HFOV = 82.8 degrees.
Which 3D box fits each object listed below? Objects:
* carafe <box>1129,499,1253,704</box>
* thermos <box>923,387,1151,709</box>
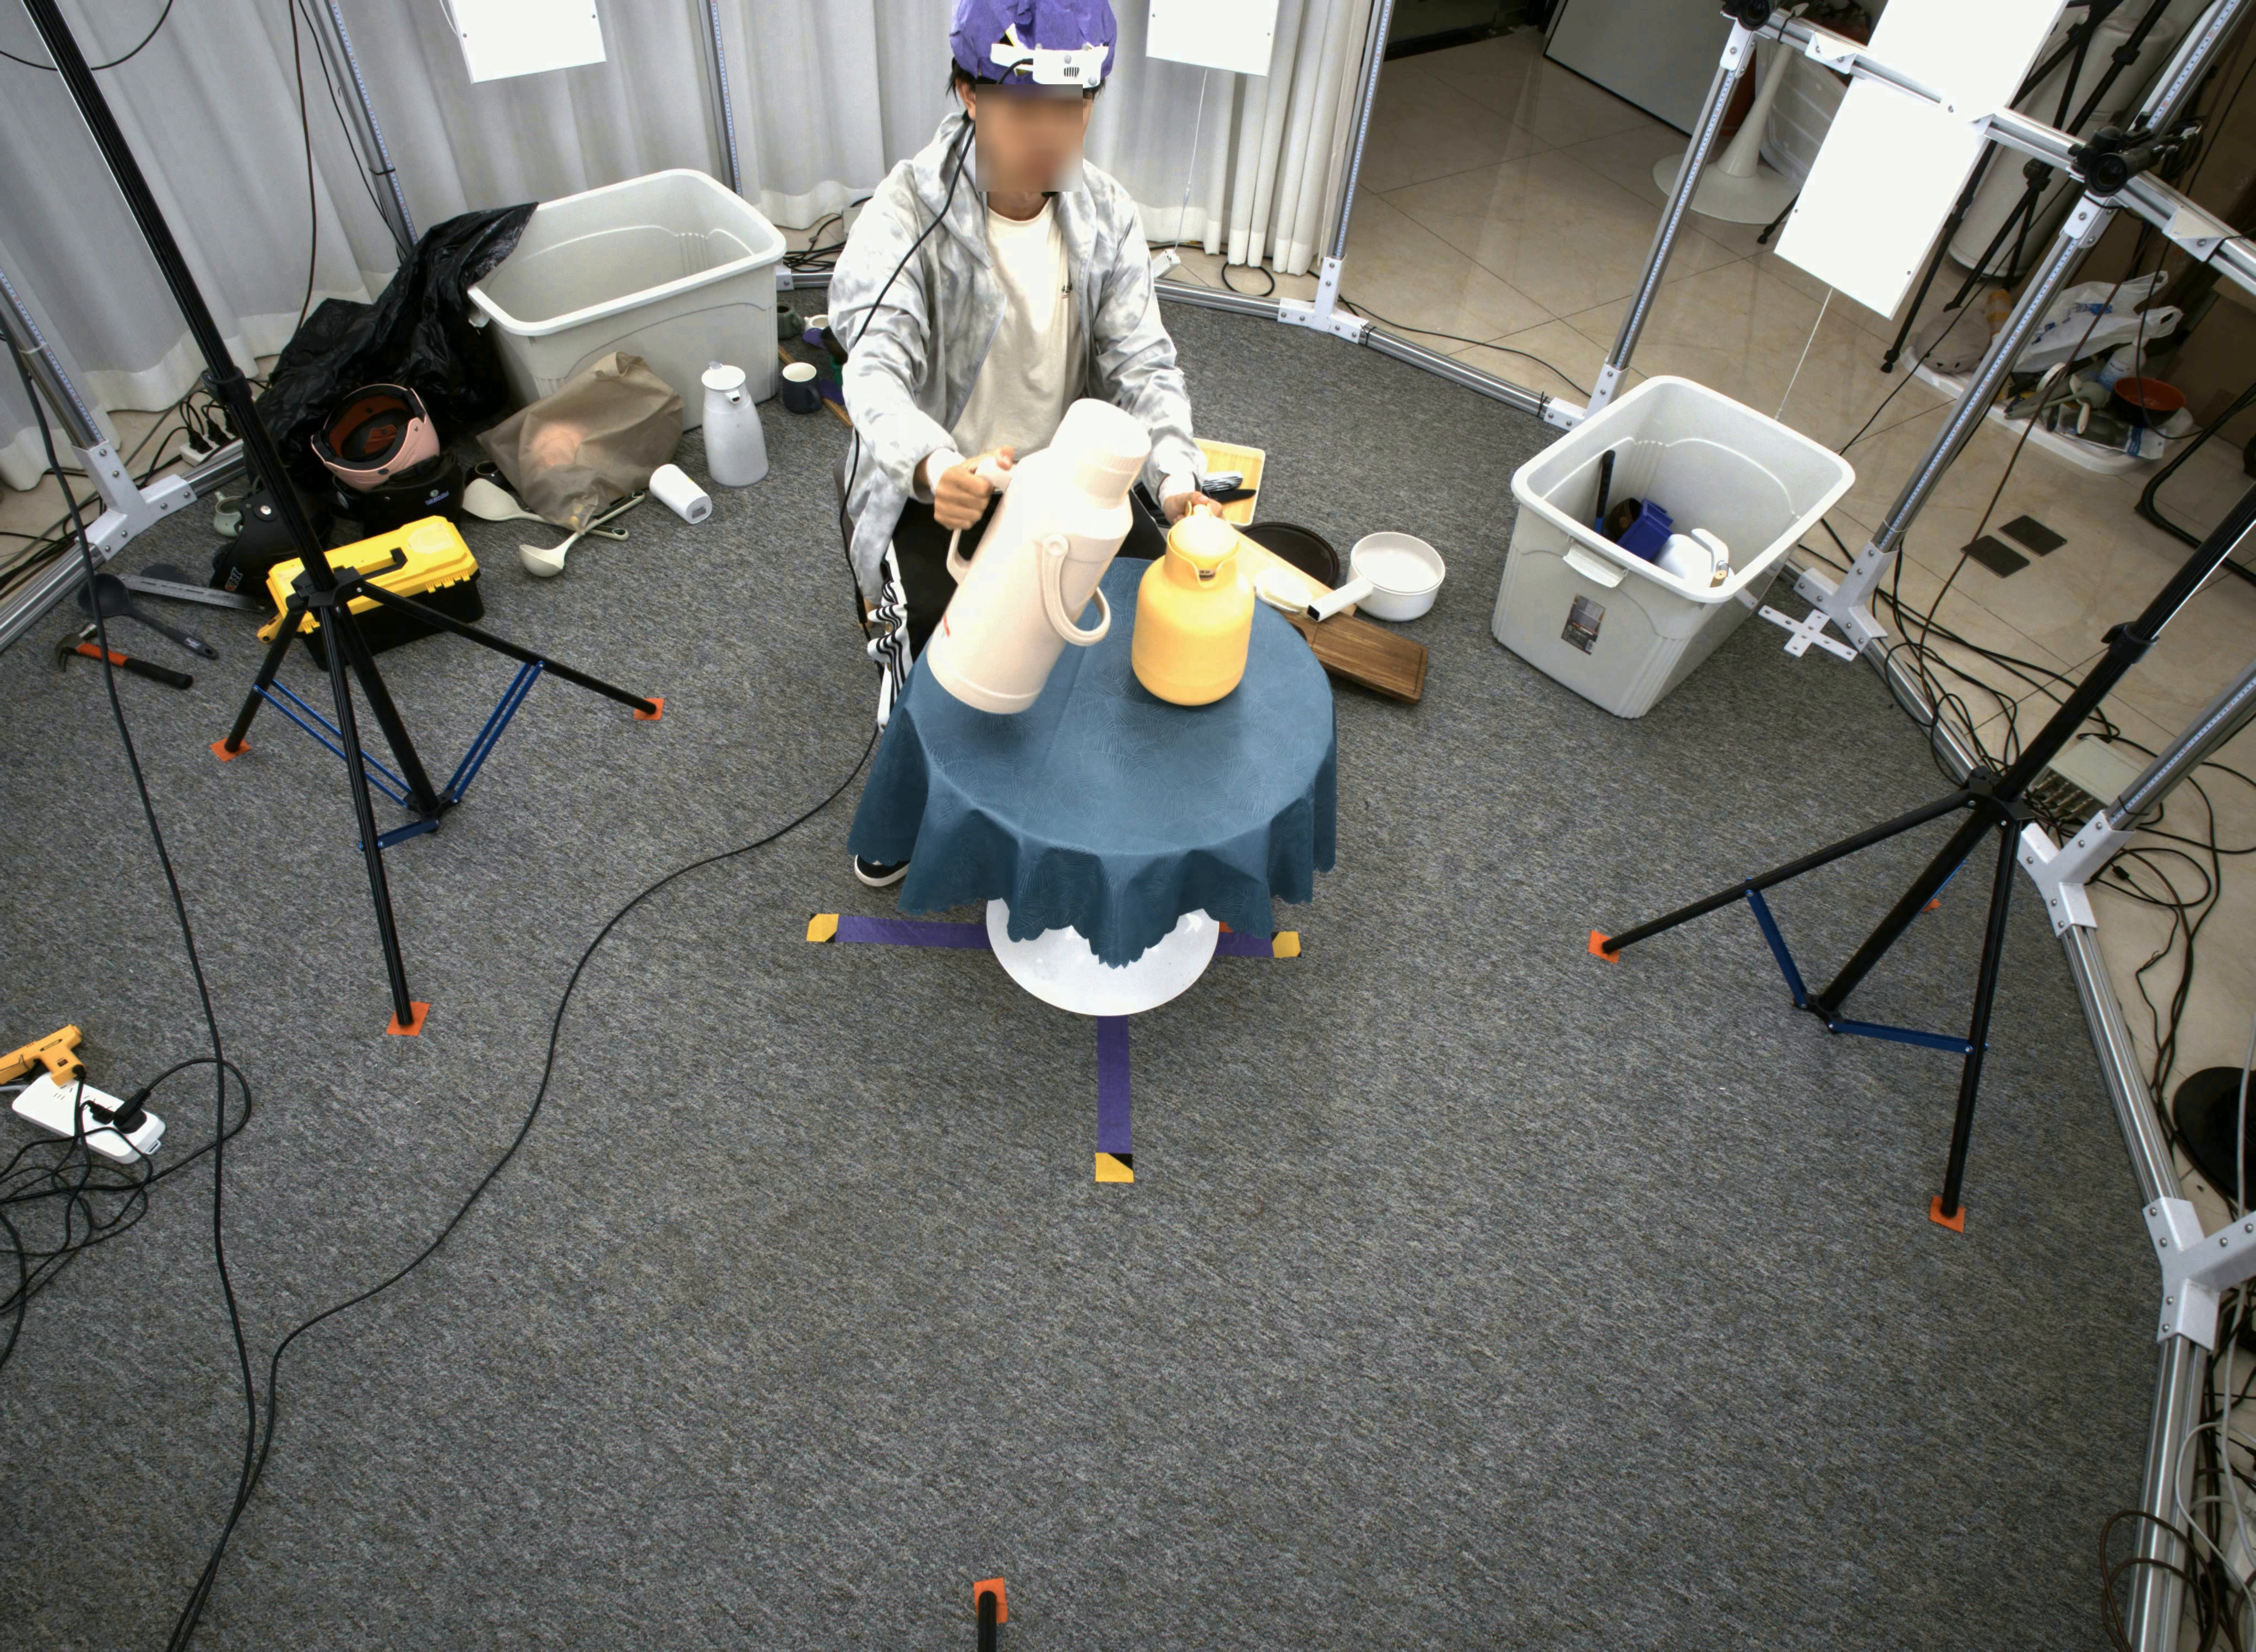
[{"bbox_3d":[0.092,-0.317,1.774,0.163,0.254,0.207,4,50,-4],"label":"carafe"},{"bbox_3d":[-0.121,-0.343,1.581,0.206,0.399,0.179,26,40,-12],"label":"thermos"}]
